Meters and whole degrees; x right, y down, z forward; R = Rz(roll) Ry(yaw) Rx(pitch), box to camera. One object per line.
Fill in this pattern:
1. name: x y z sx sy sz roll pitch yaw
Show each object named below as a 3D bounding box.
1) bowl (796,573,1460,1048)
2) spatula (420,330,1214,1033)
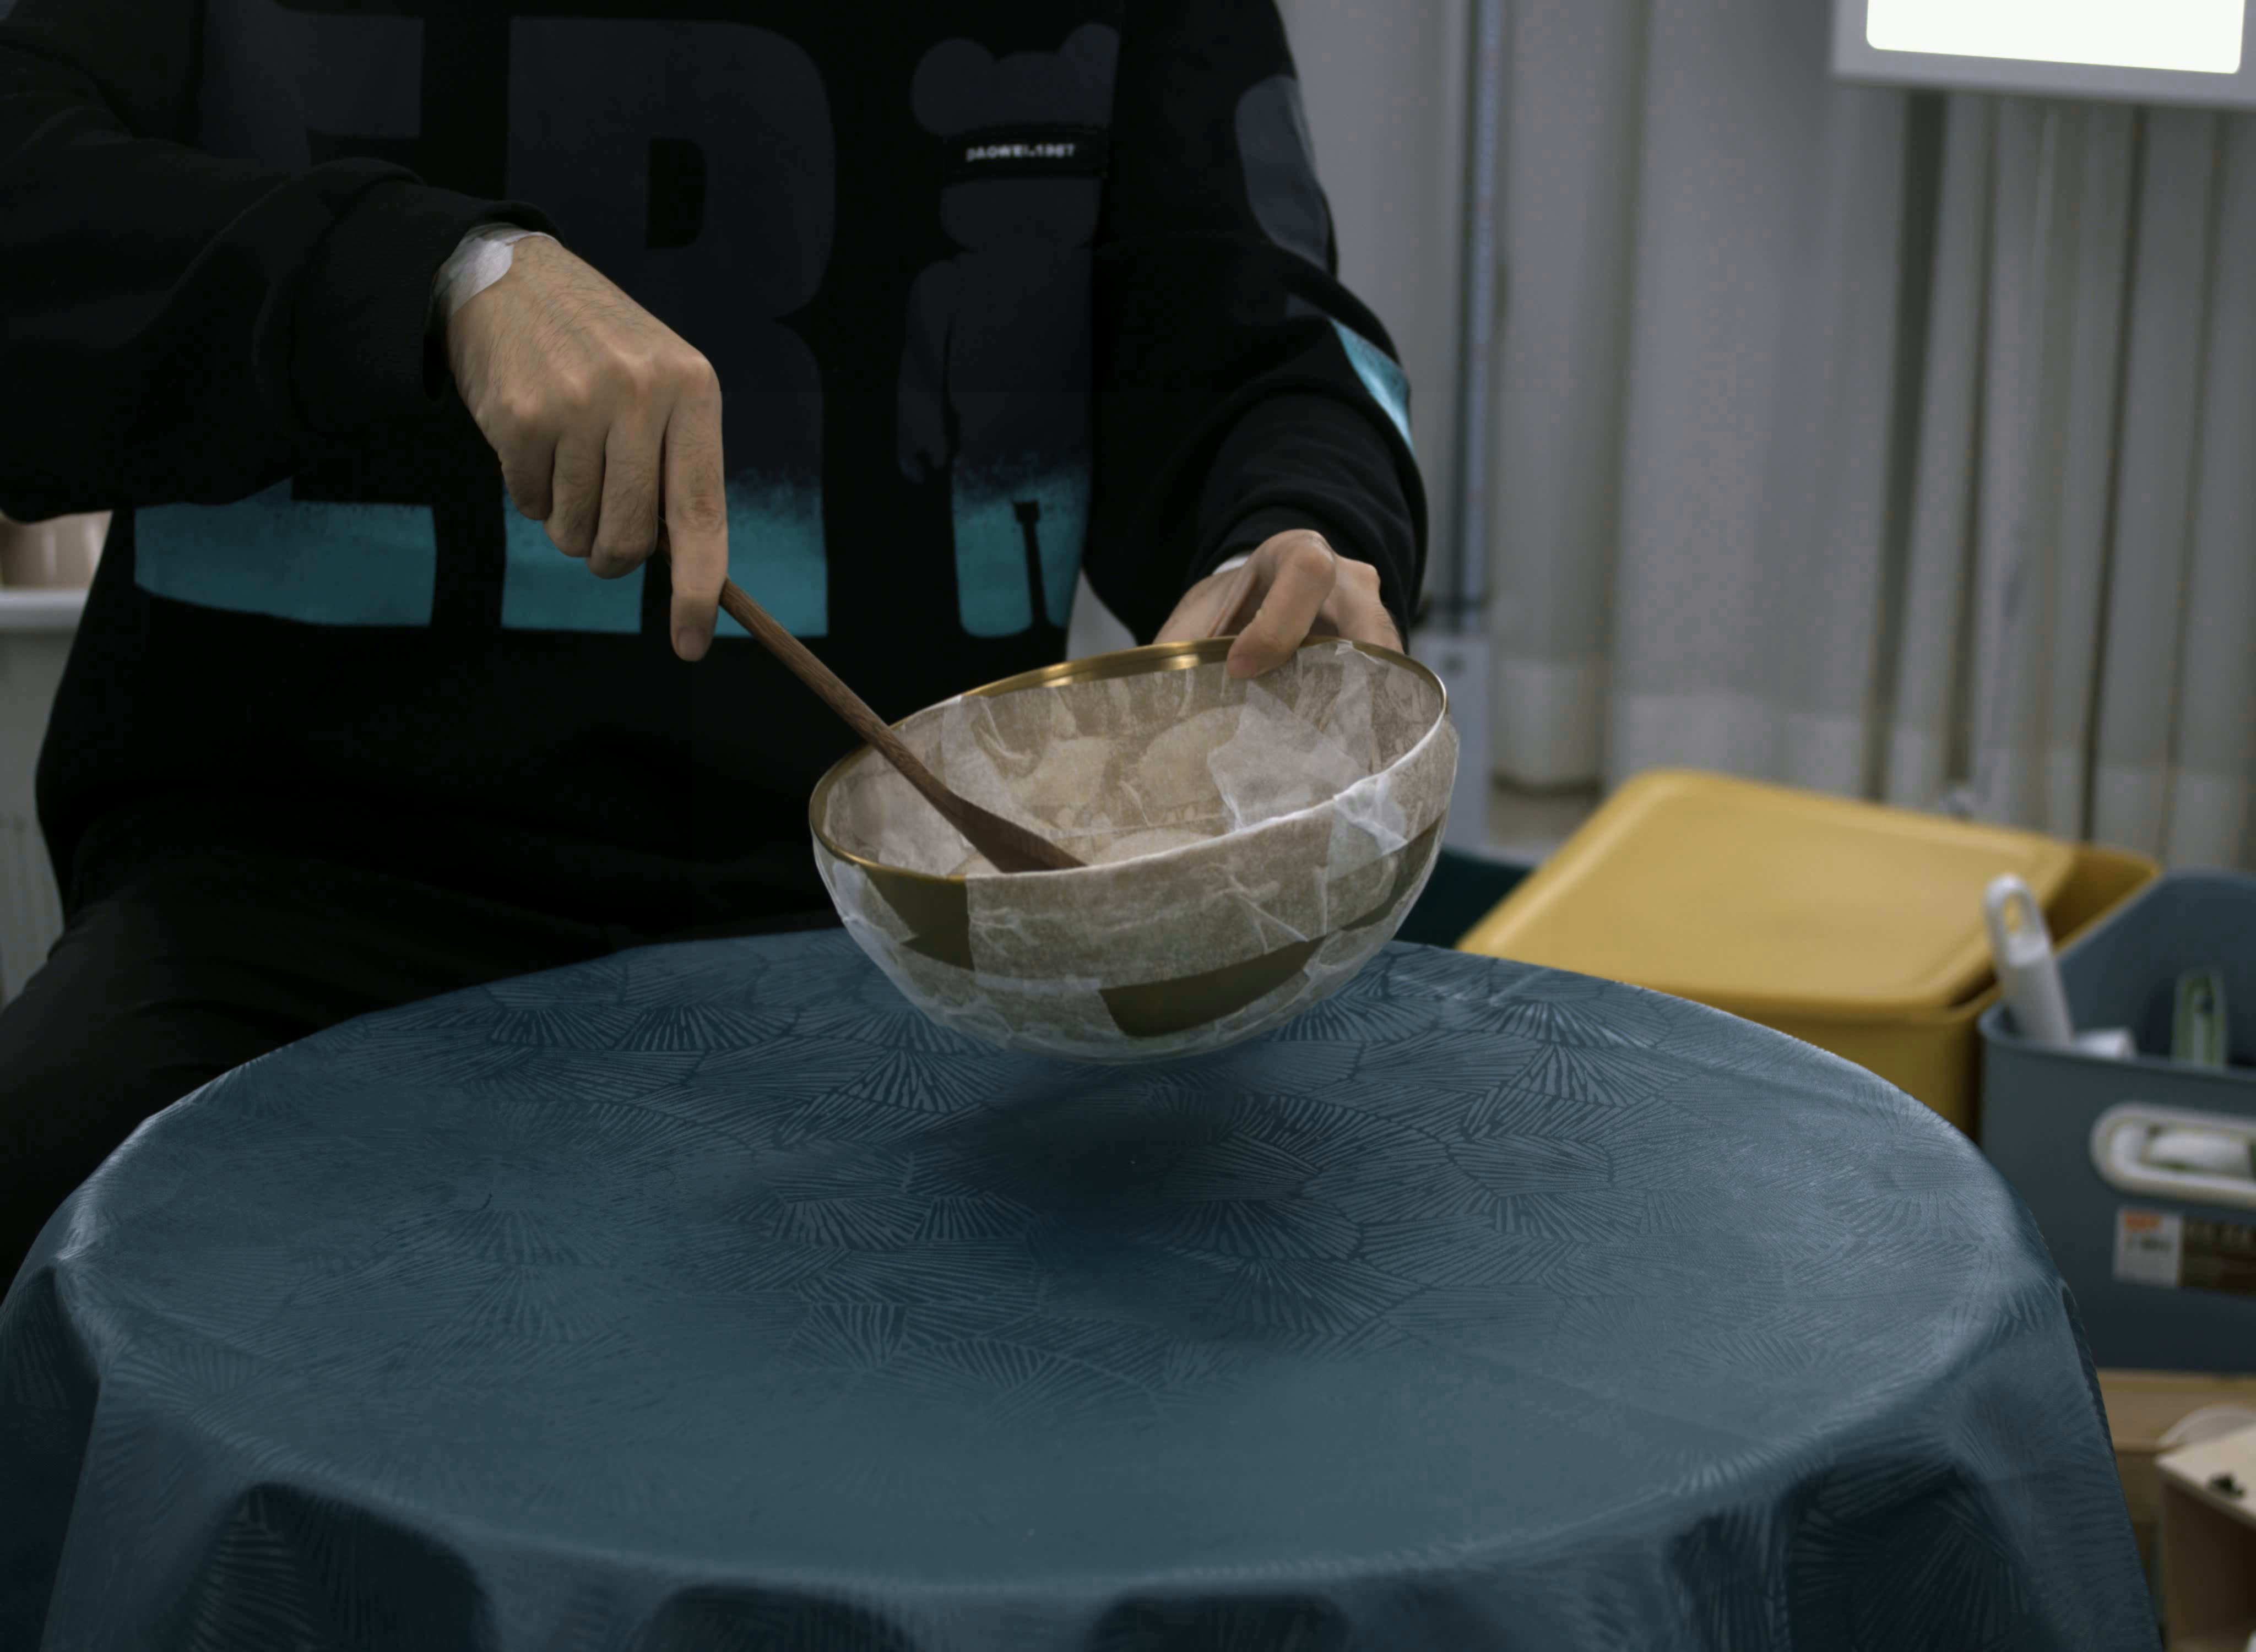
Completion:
1. bowl: 0.007 0.006 1.624 0.214 0.096 0.213 -7 29 4
2. spatula: -0.107 -0.056 1.668 0.016 0.097 0.381 -44 60 -8
